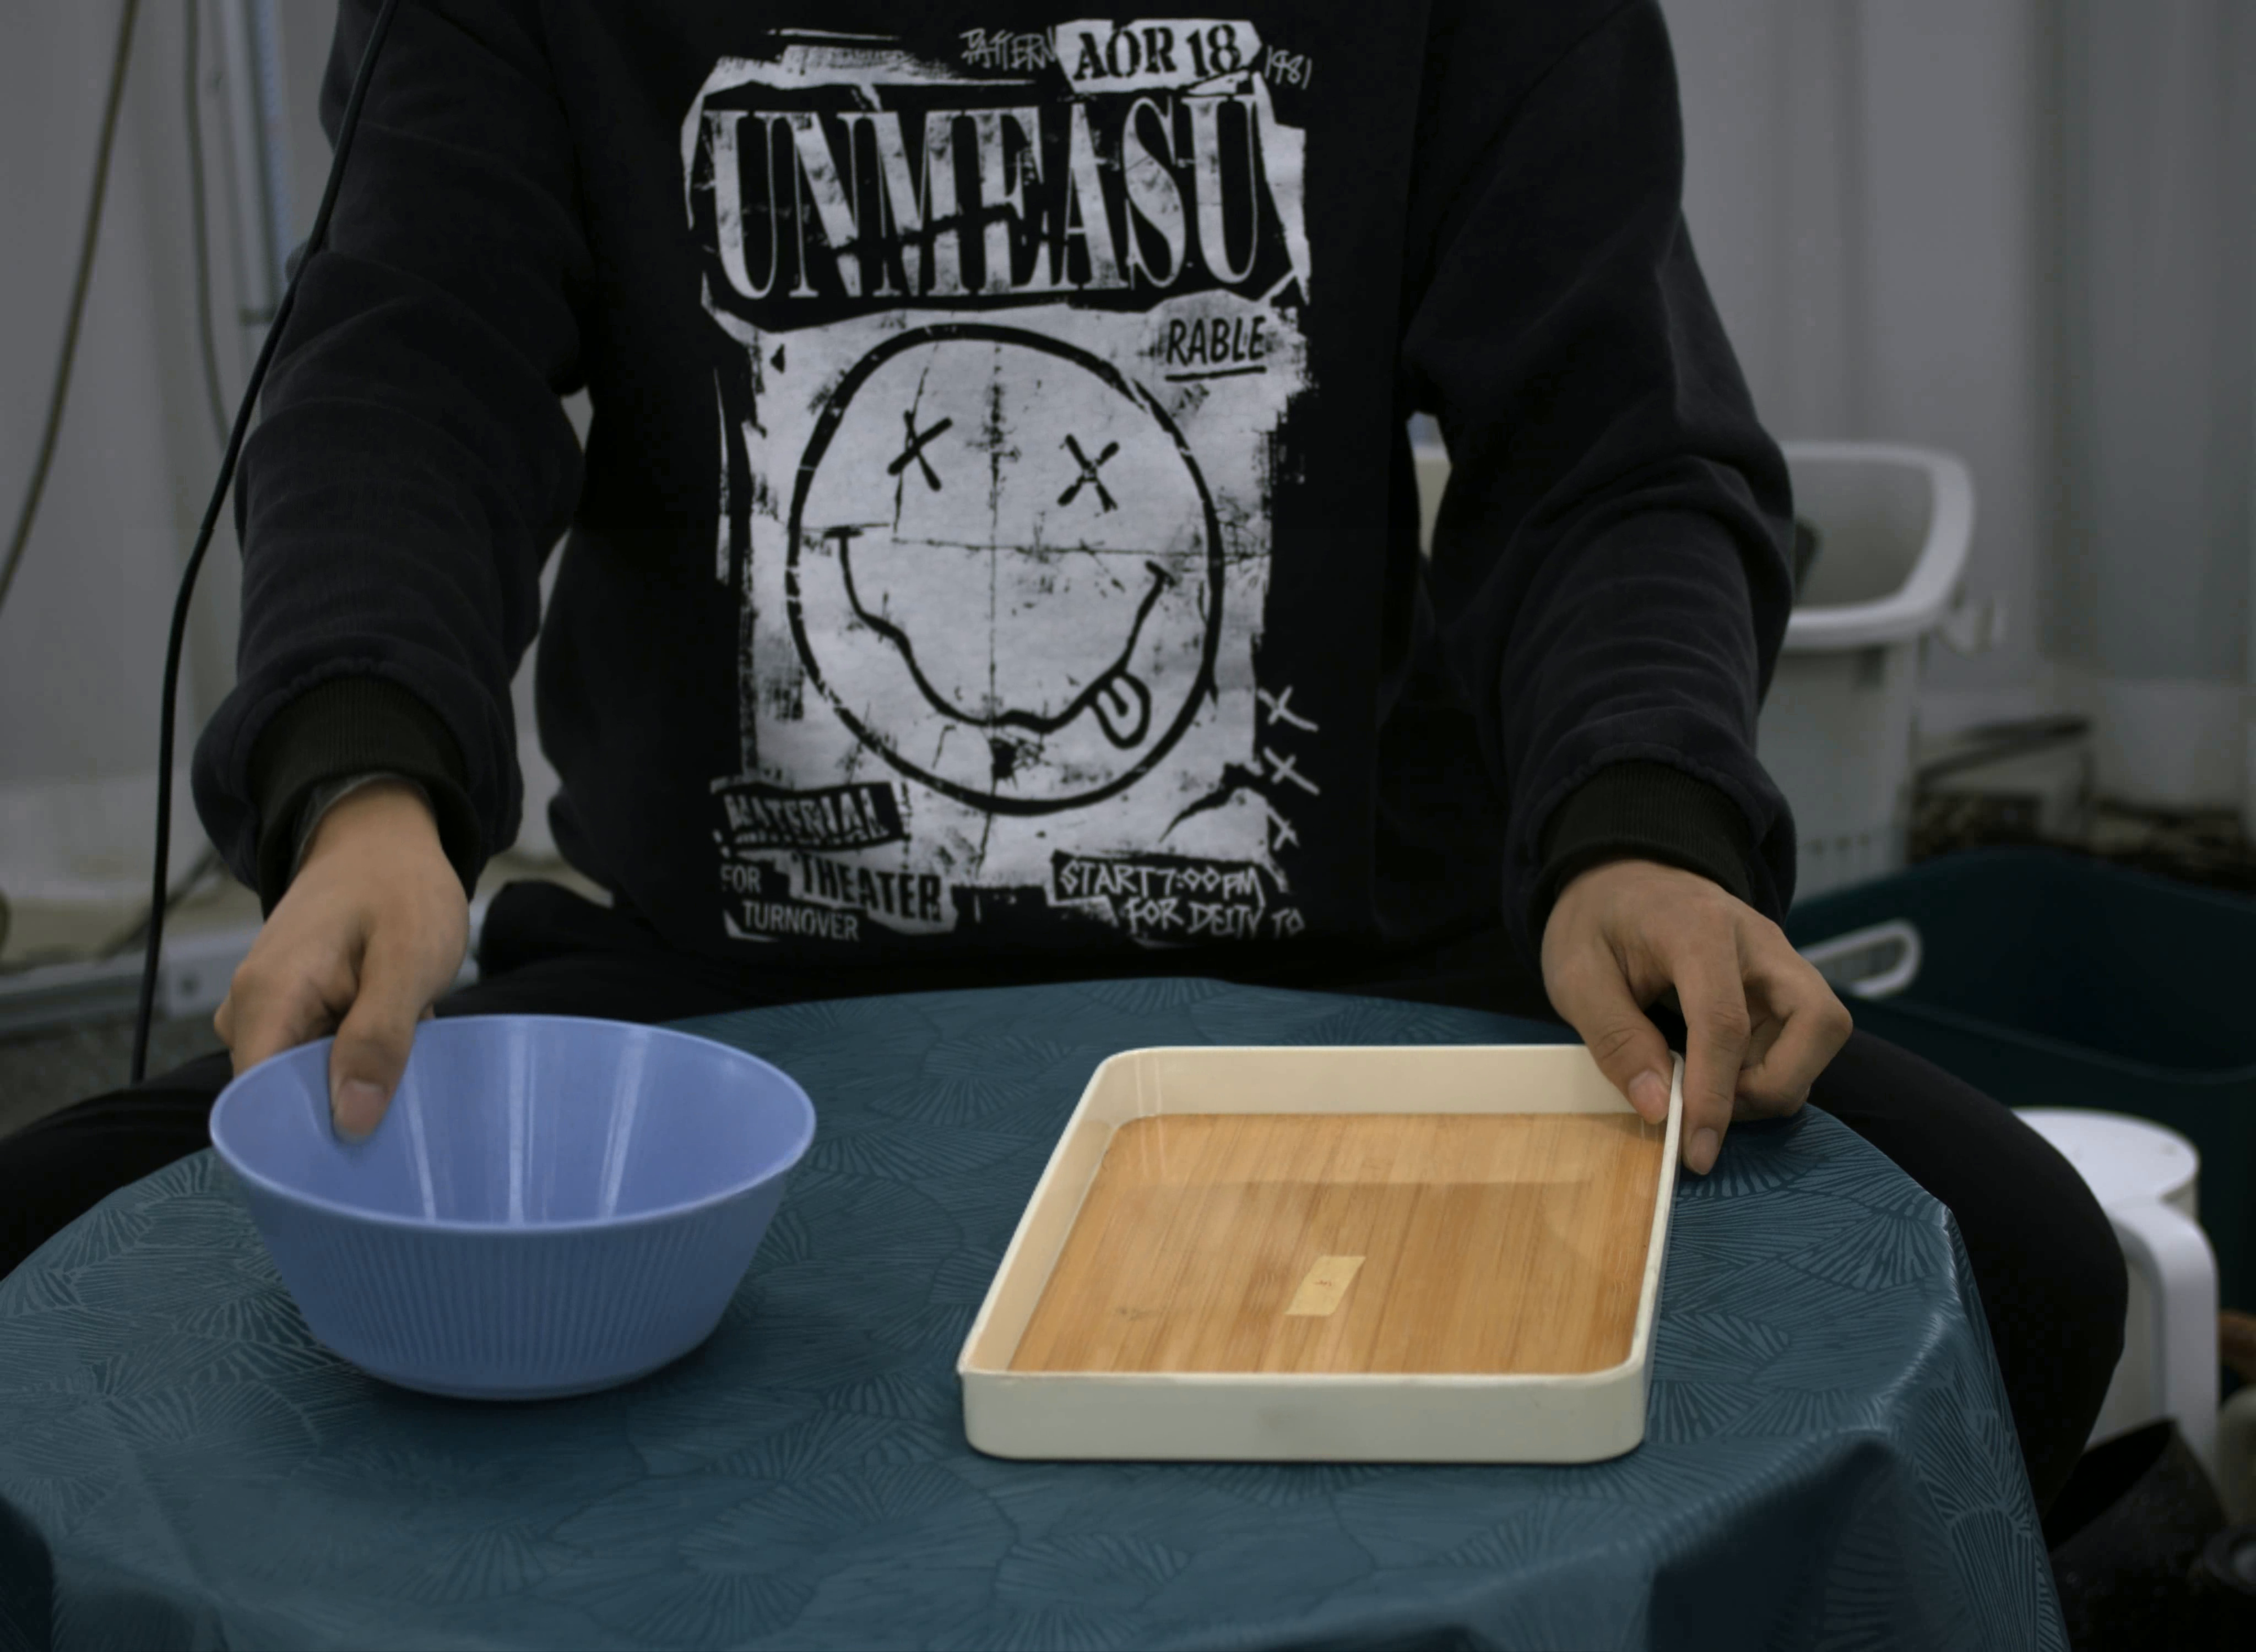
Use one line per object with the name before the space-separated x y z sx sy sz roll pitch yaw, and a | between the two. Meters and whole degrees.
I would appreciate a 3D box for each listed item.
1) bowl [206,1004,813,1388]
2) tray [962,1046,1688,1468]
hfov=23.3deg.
bowl | -0.180 0.111 1.595 0.175 0.070 0.177 3 17 -1
tray | 0.066 0.123 1.621 0.191 0.027 0.302 0 15 9
